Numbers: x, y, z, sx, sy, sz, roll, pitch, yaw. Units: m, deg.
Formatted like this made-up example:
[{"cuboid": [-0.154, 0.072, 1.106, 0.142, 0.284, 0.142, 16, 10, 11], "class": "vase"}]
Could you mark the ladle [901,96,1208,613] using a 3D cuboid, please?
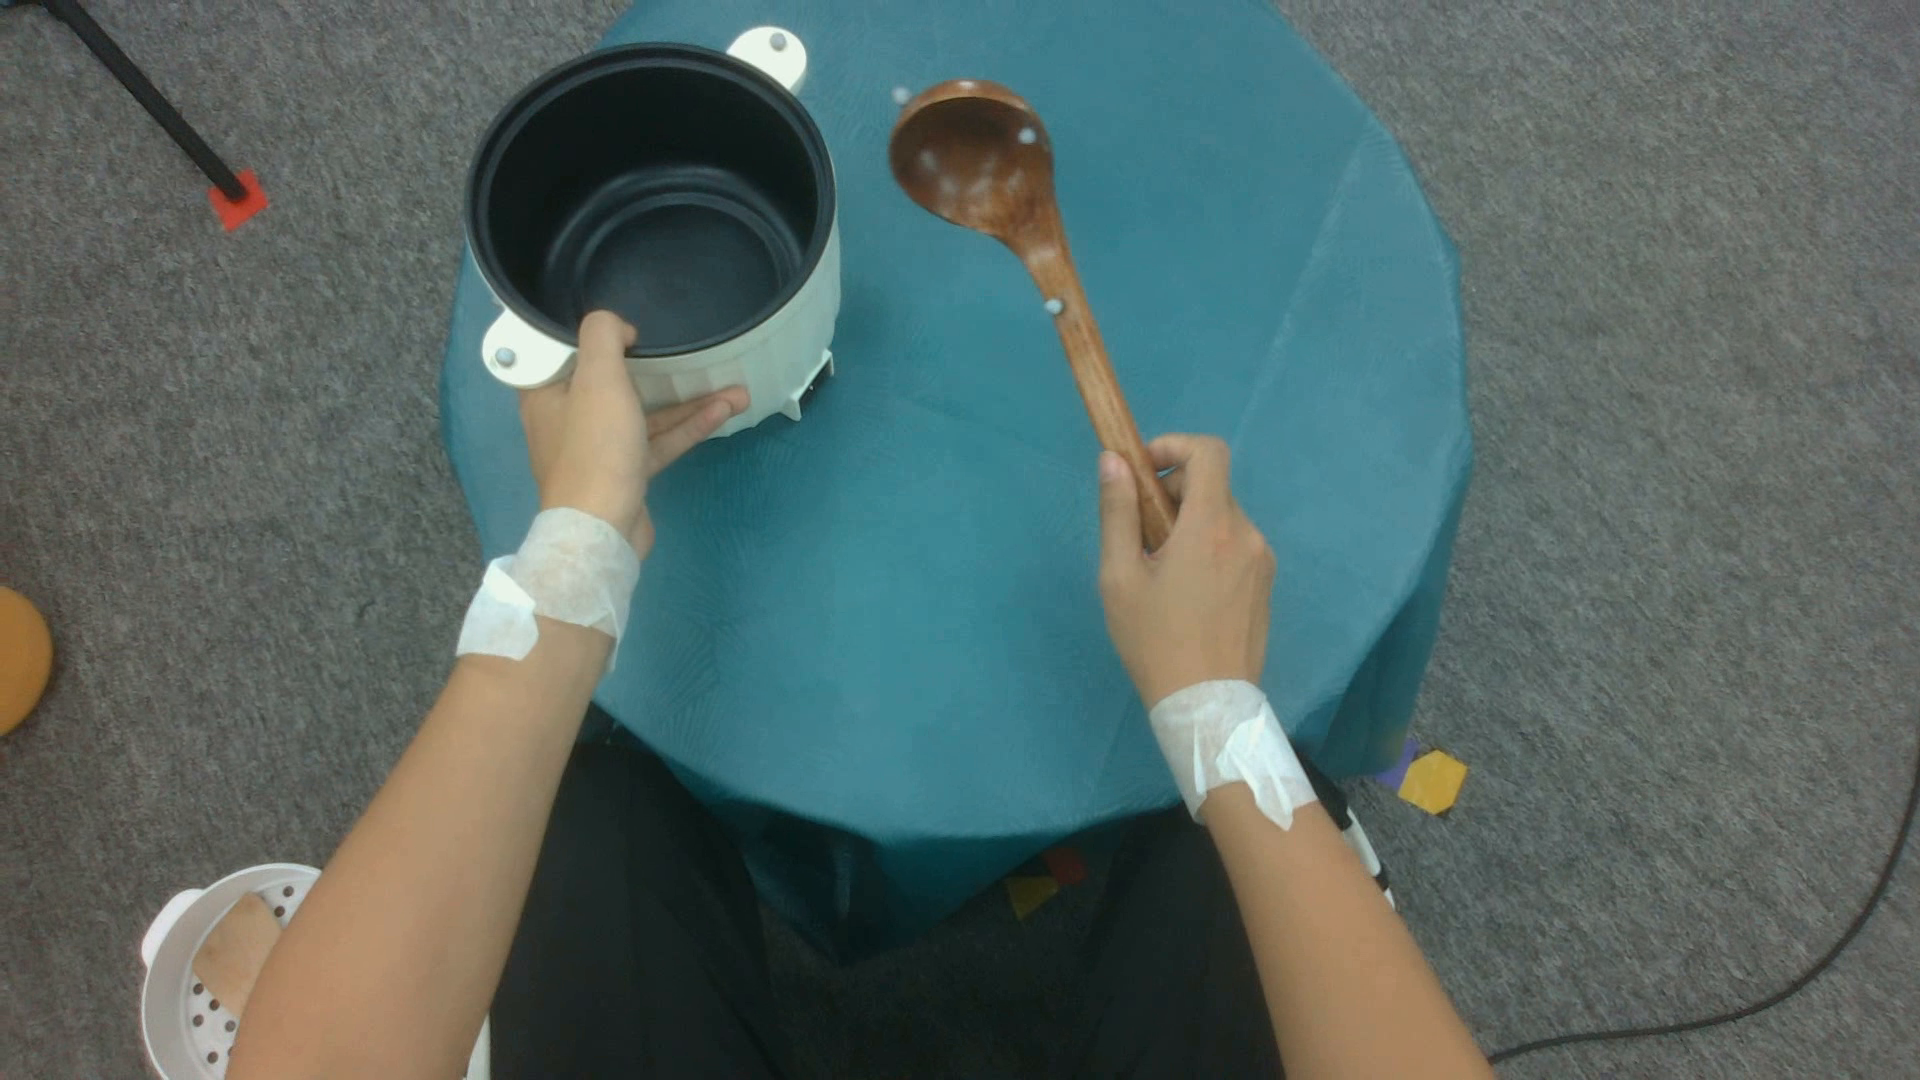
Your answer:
[{"cuboid": [0.049, -0.089, 0.677, 0.077, 0.081, 0.274, -12, 79, -43], "class": "ladle"}]

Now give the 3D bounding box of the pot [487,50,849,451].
[{"cuboid": [-0.156, -0.146, 0.761, 0.190, 0.142, 0.241, 31, 70, 6], "class": "pot"}]
